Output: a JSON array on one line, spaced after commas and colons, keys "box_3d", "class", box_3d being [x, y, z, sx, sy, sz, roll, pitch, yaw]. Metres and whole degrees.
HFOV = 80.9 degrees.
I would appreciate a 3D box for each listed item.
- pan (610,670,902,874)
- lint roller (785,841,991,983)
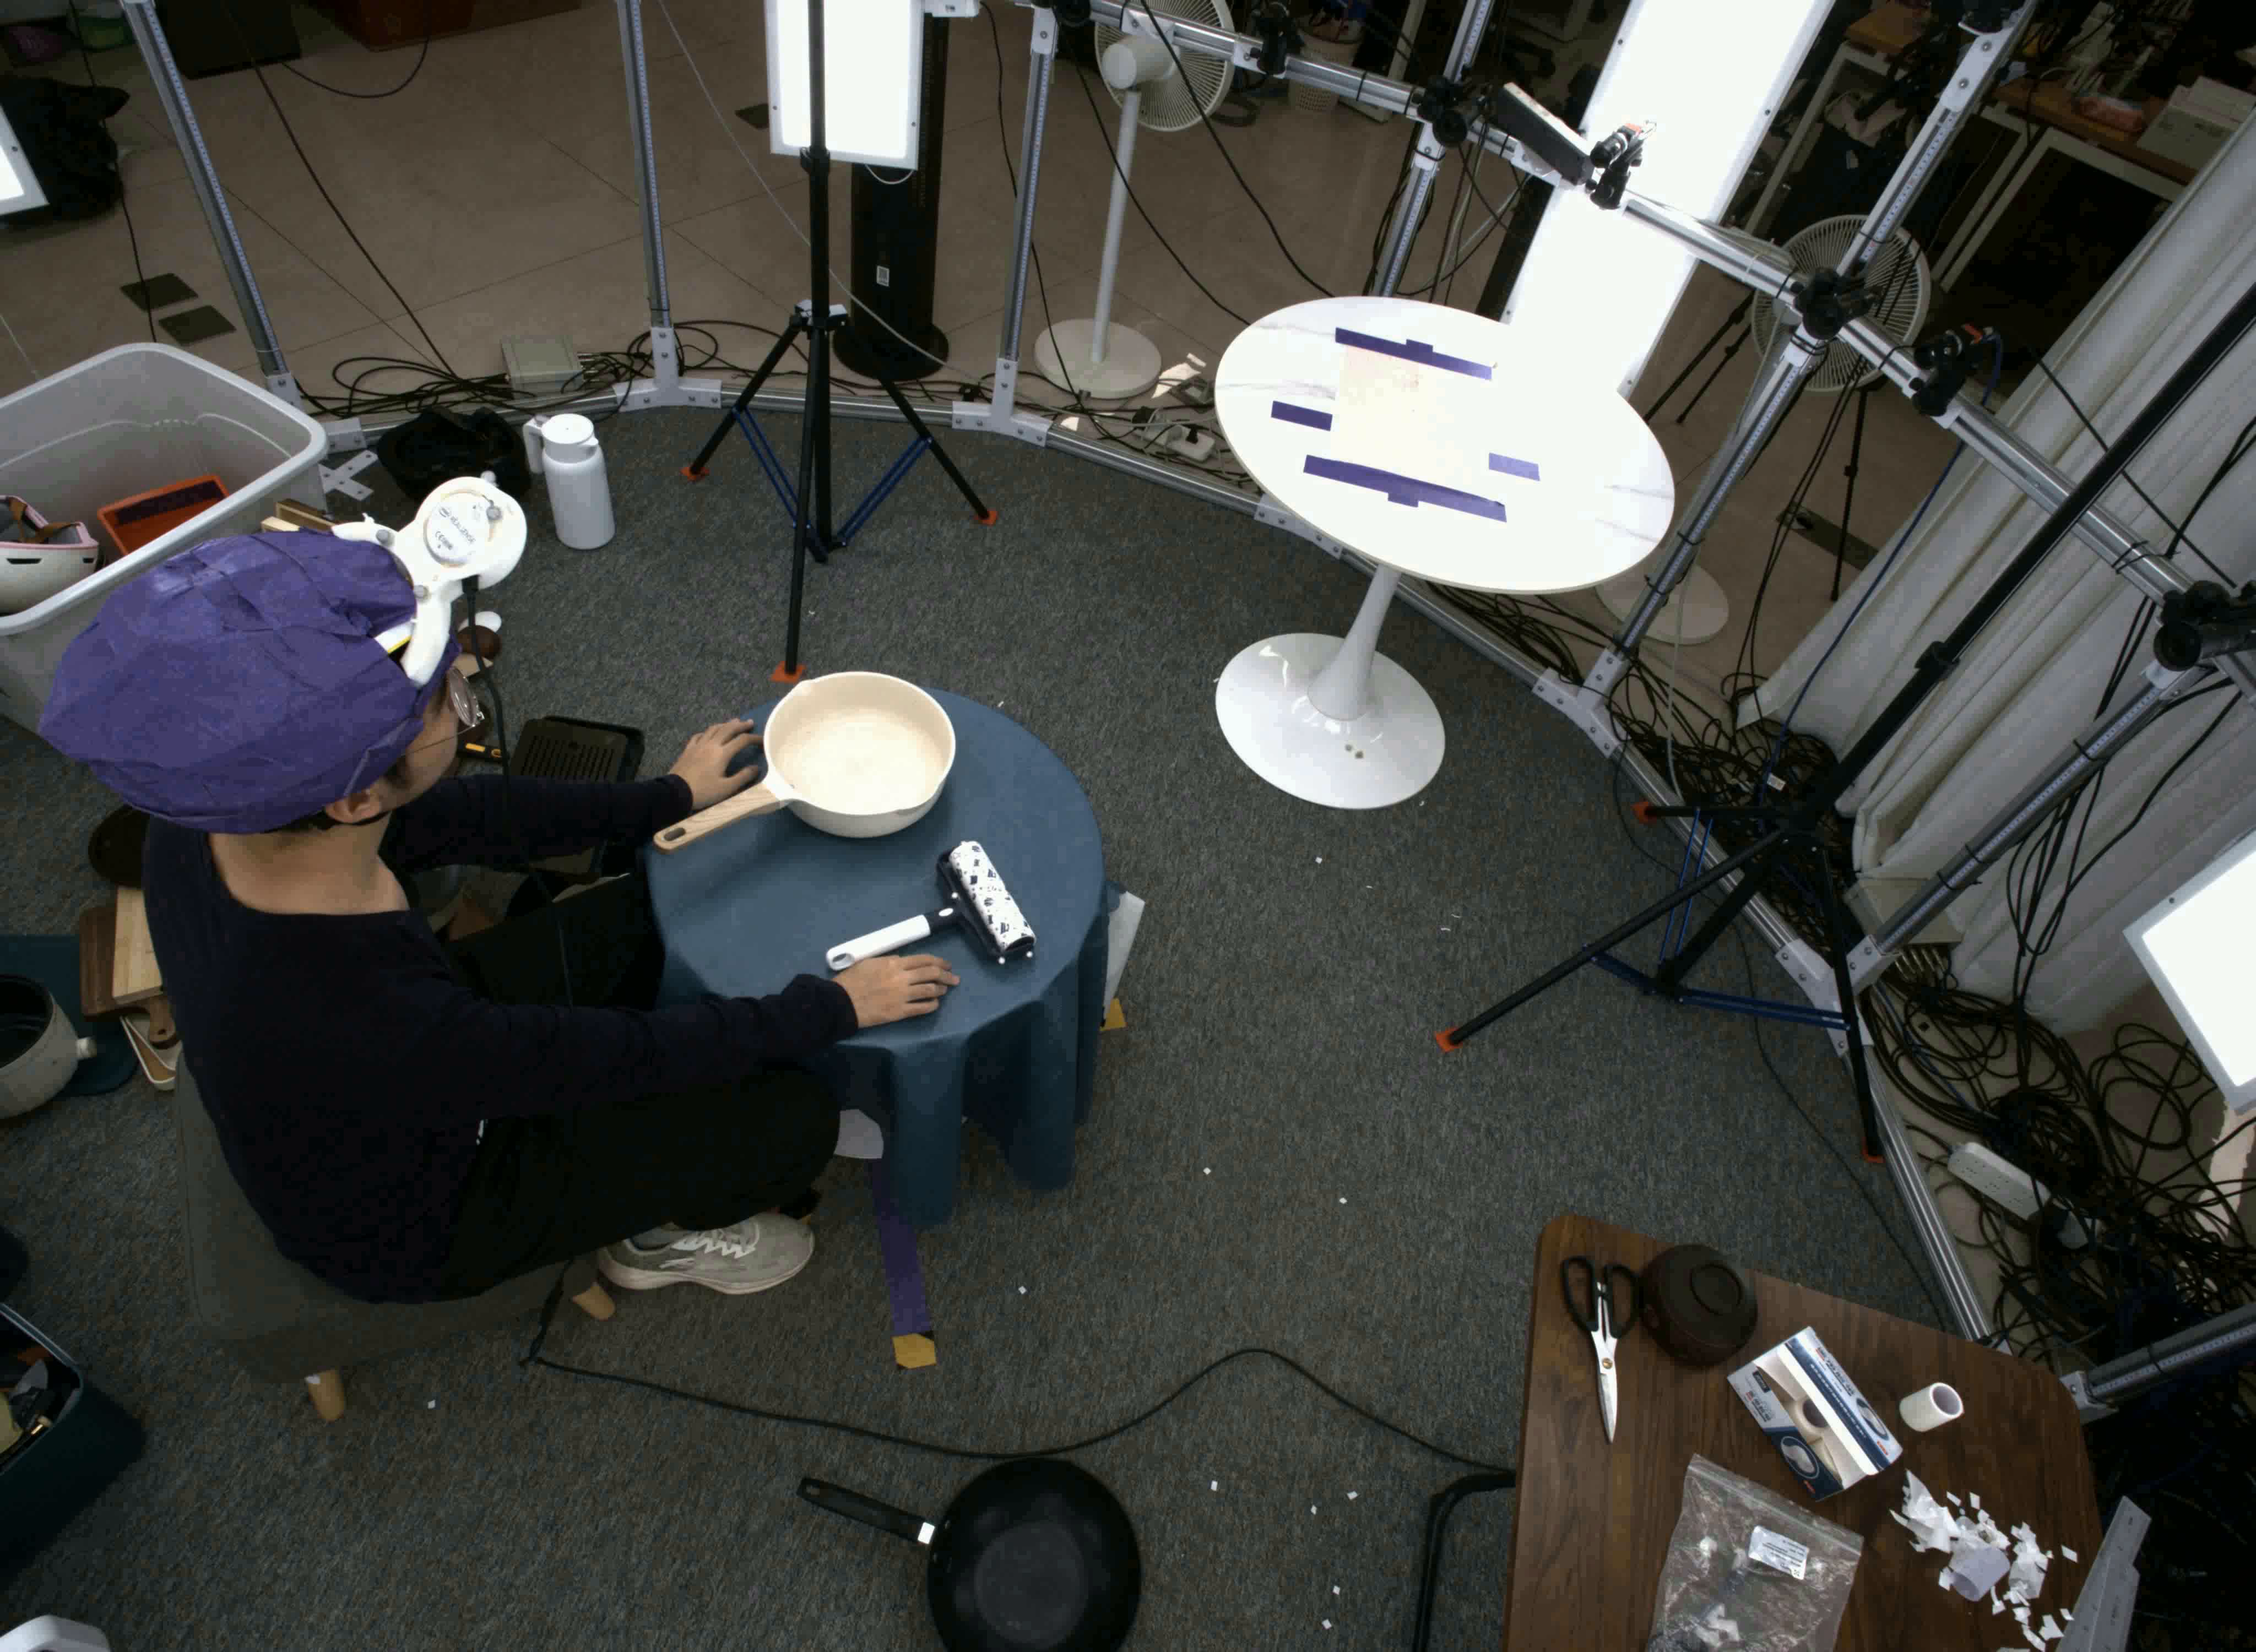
[{"box_3d": [-0.489, -0.045, 1.688, 0.258, 0.104, 0.435, 40, 55, 15], "class": "pan"}, {"box_3d": [-0.316, 0.130, 1.639, 0.248, 0.051, 0.172, -25, 64, -26], "class": "lint roller"}]
